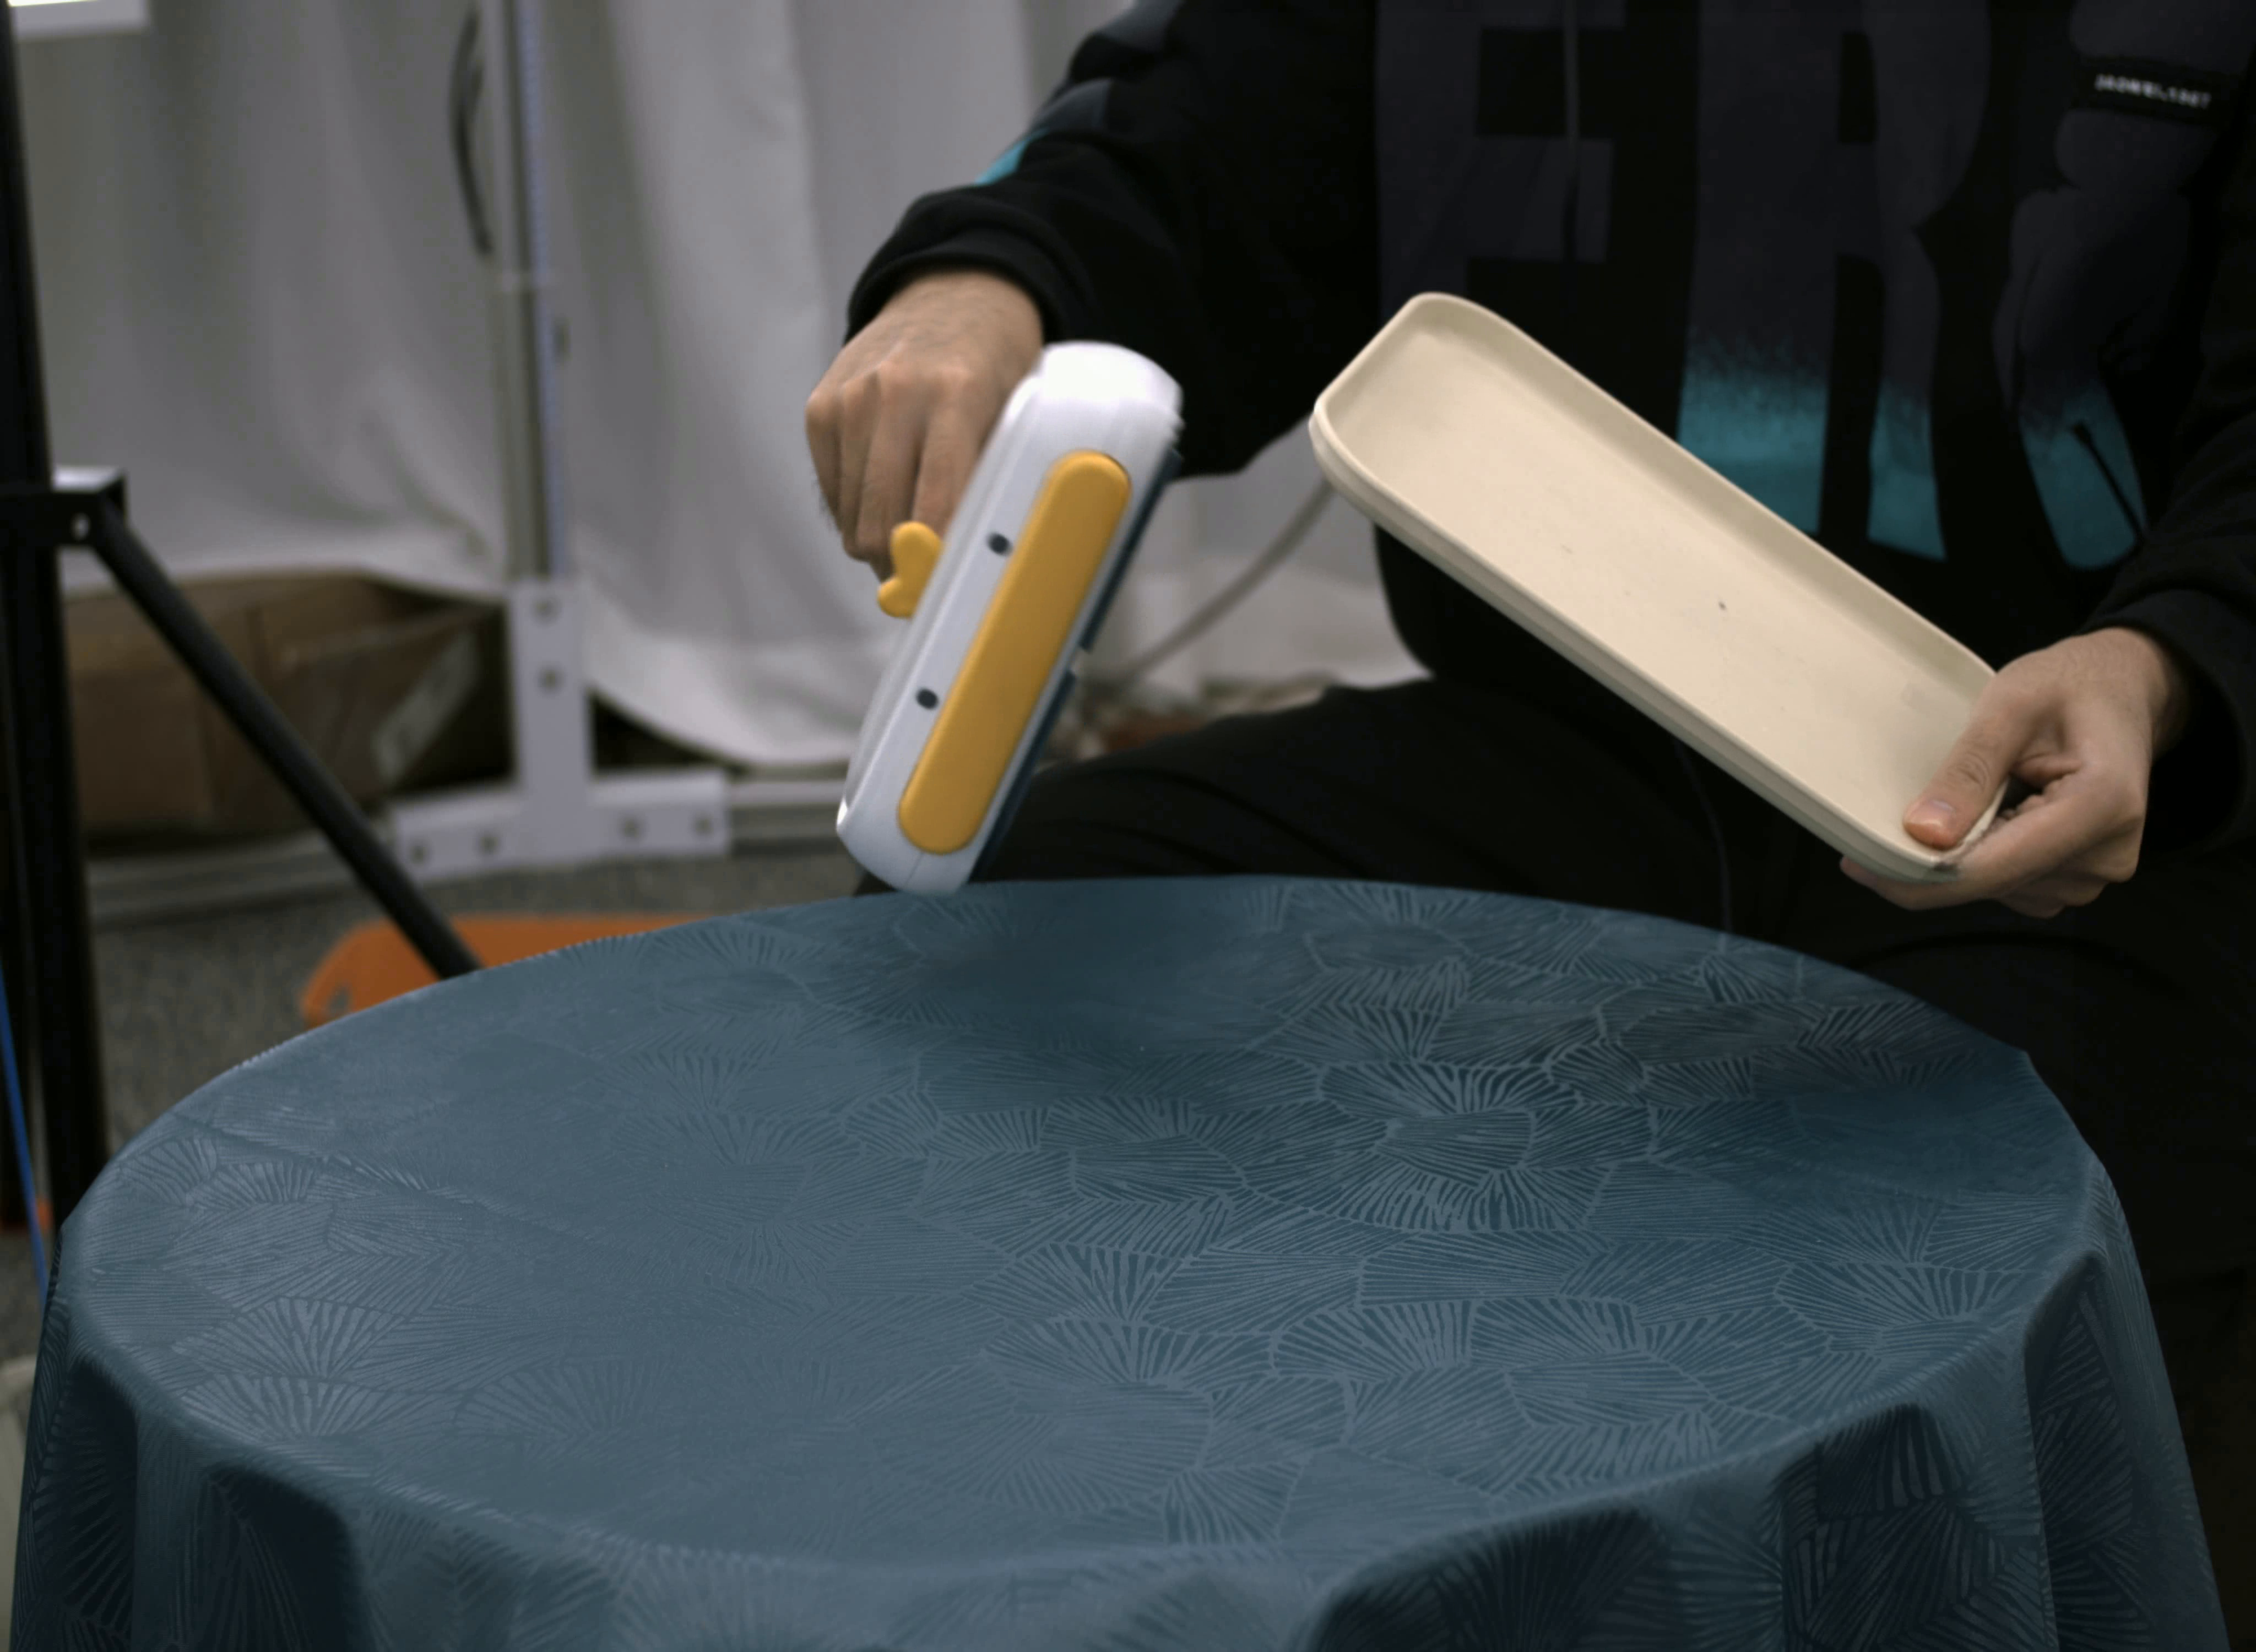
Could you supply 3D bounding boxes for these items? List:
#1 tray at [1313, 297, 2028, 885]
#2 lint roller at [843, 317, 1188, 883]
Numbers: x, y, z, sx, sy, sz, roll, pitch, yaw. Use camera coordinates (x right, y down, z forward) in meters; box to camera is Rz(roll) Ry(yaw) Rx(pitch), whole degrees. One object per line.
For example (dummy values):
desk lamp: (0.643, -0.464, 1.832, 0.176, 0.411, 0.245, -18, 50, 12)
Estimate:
tray: (0.167, -0.071, 1.621, 0.240, 0.017, 0.170, 35, 26, 5)
lint roller: (-0.052, -0.094, 1.783, 0.073, 0.193, 0.194, 17, 16, -15)
